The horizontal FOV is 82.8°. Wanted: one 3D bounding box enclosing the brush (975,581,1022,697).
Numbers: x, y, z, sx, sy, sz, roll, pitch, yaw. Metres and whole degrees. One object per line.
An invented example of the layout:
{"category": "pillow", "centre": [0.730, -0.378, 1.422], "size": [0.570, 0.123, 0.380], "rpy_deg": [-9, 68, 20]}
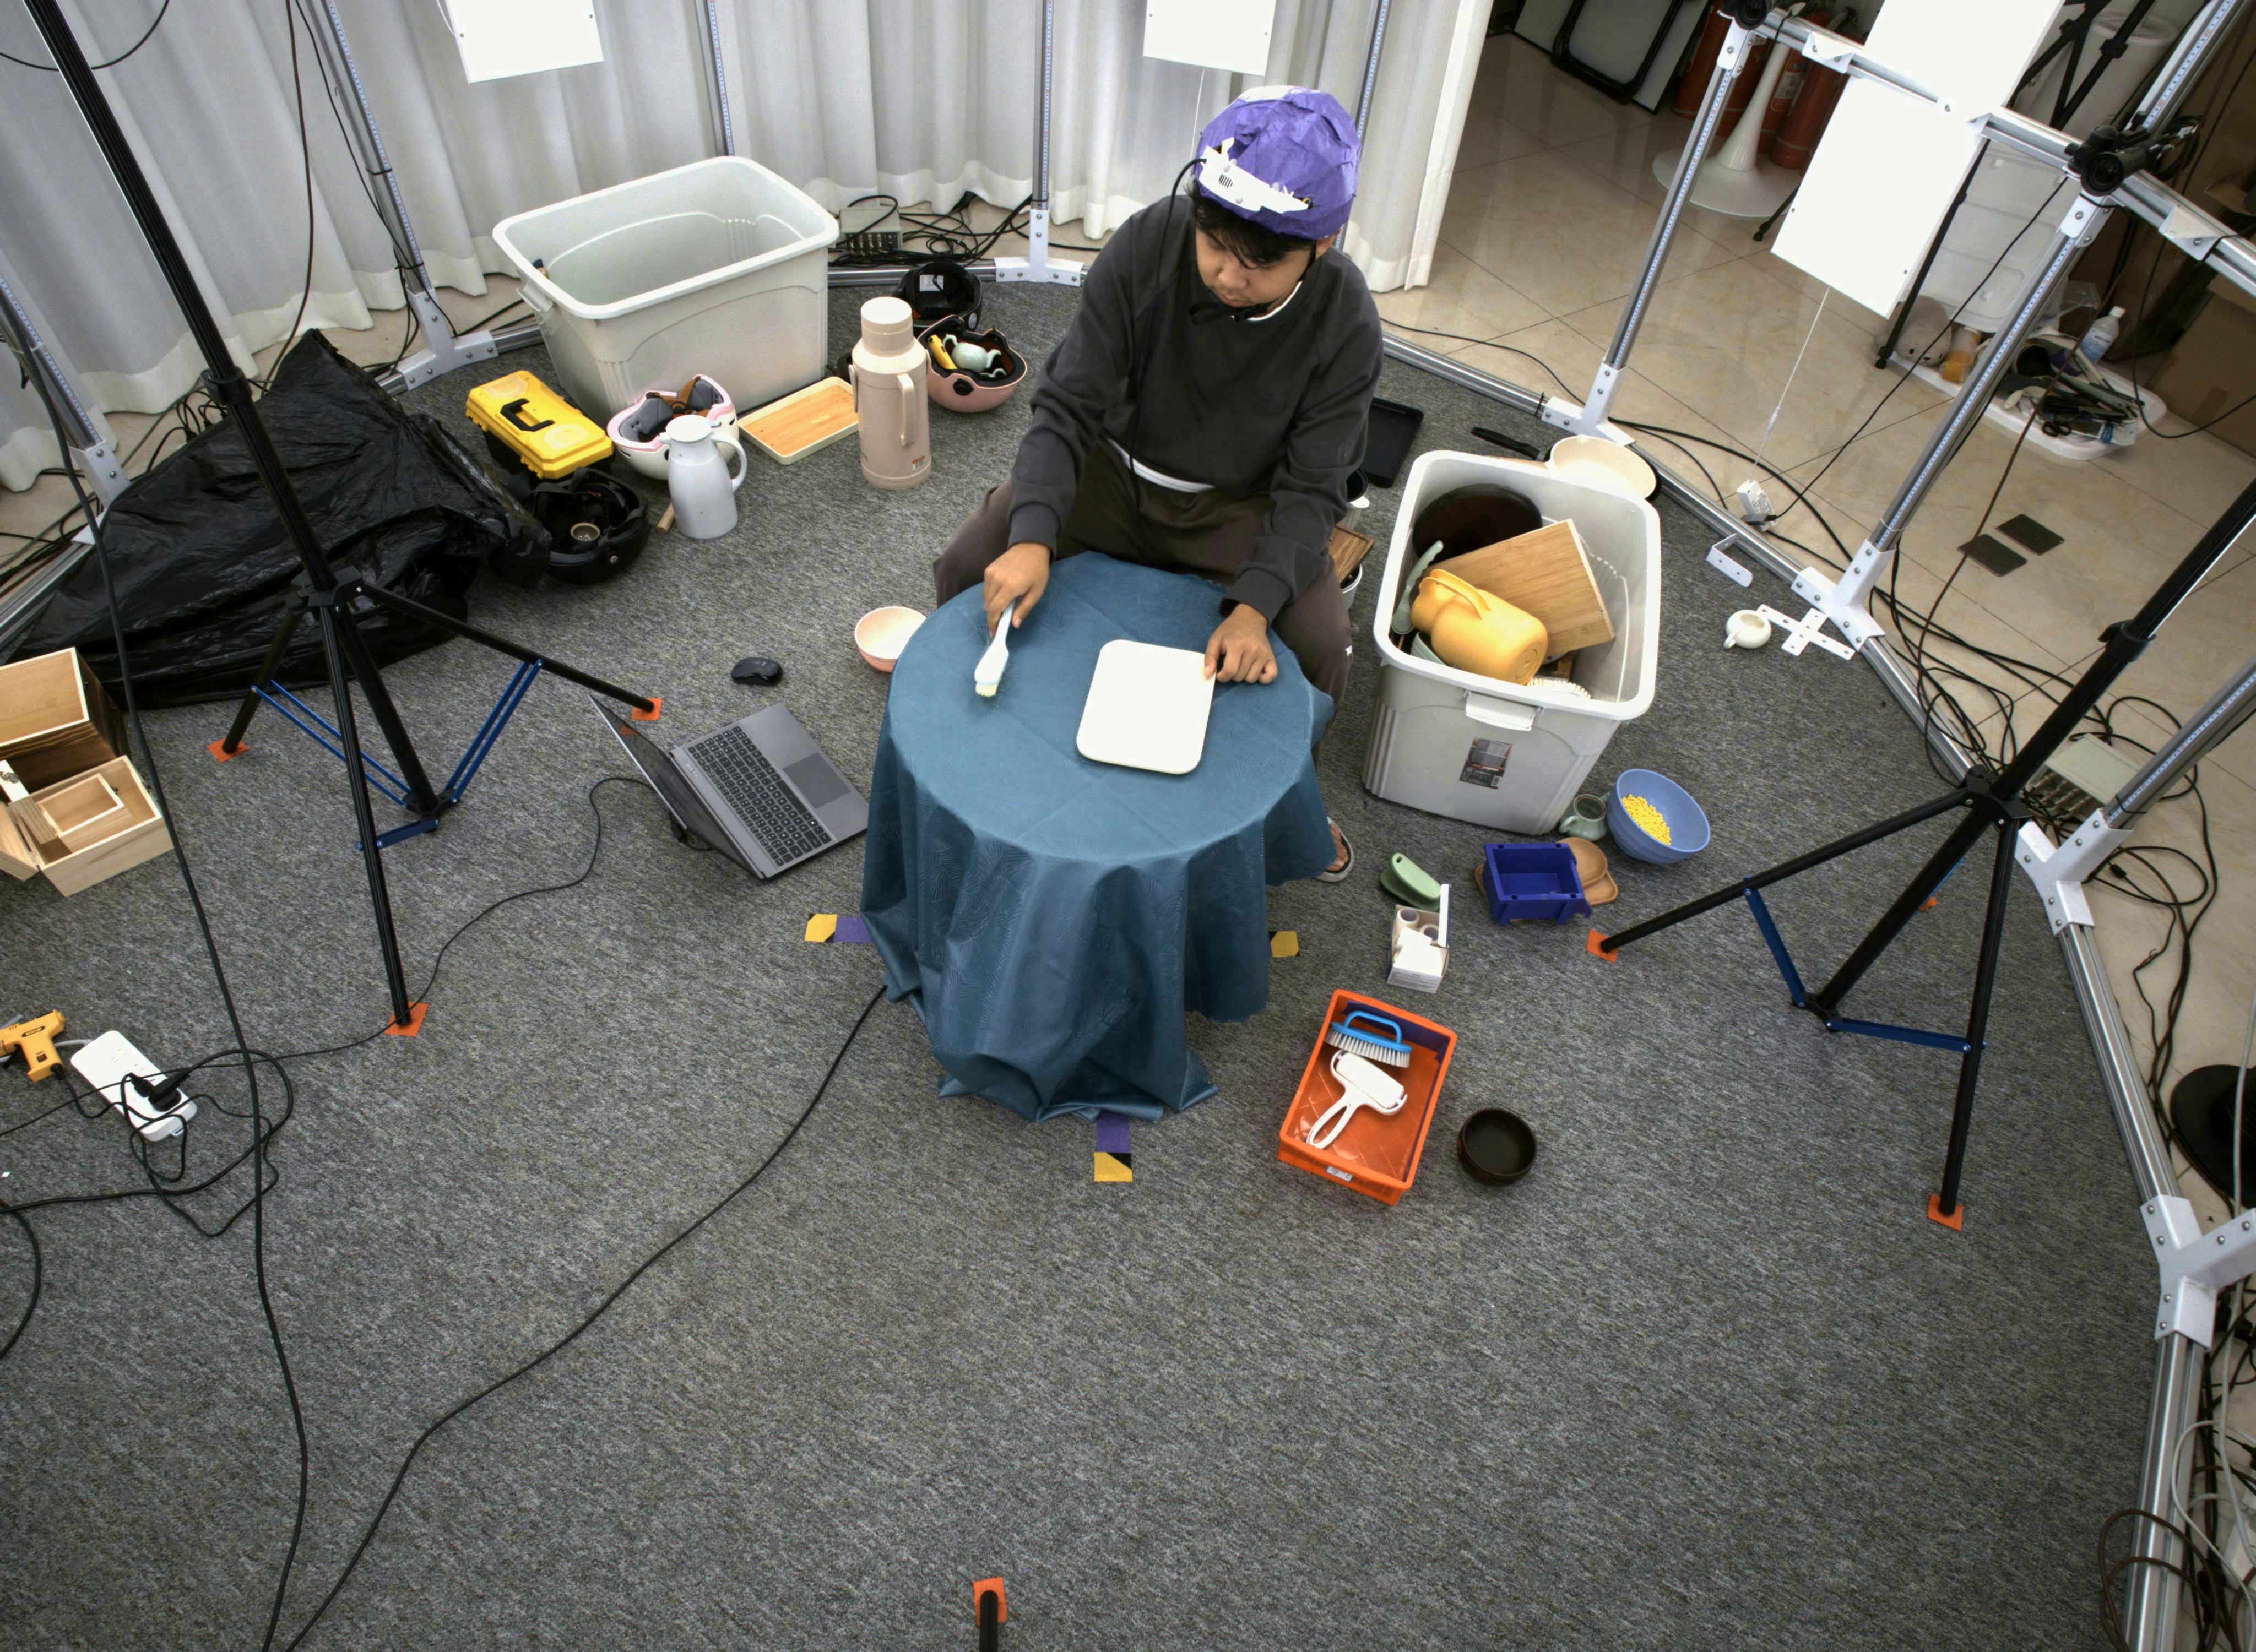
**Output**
{"category": "brush", "centre": [-0.183, -0.274, 1.853], "size": [0.038, 0.048, 0.234], "rpy_deg": [10, 51, -1]}

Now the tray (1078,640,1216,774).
{"category": "tray", "centre": [0.029, -0.169, 1.802], "size": [0.171, 0.017, 0.245], "rpy_deg": [10, 49, 4]}
